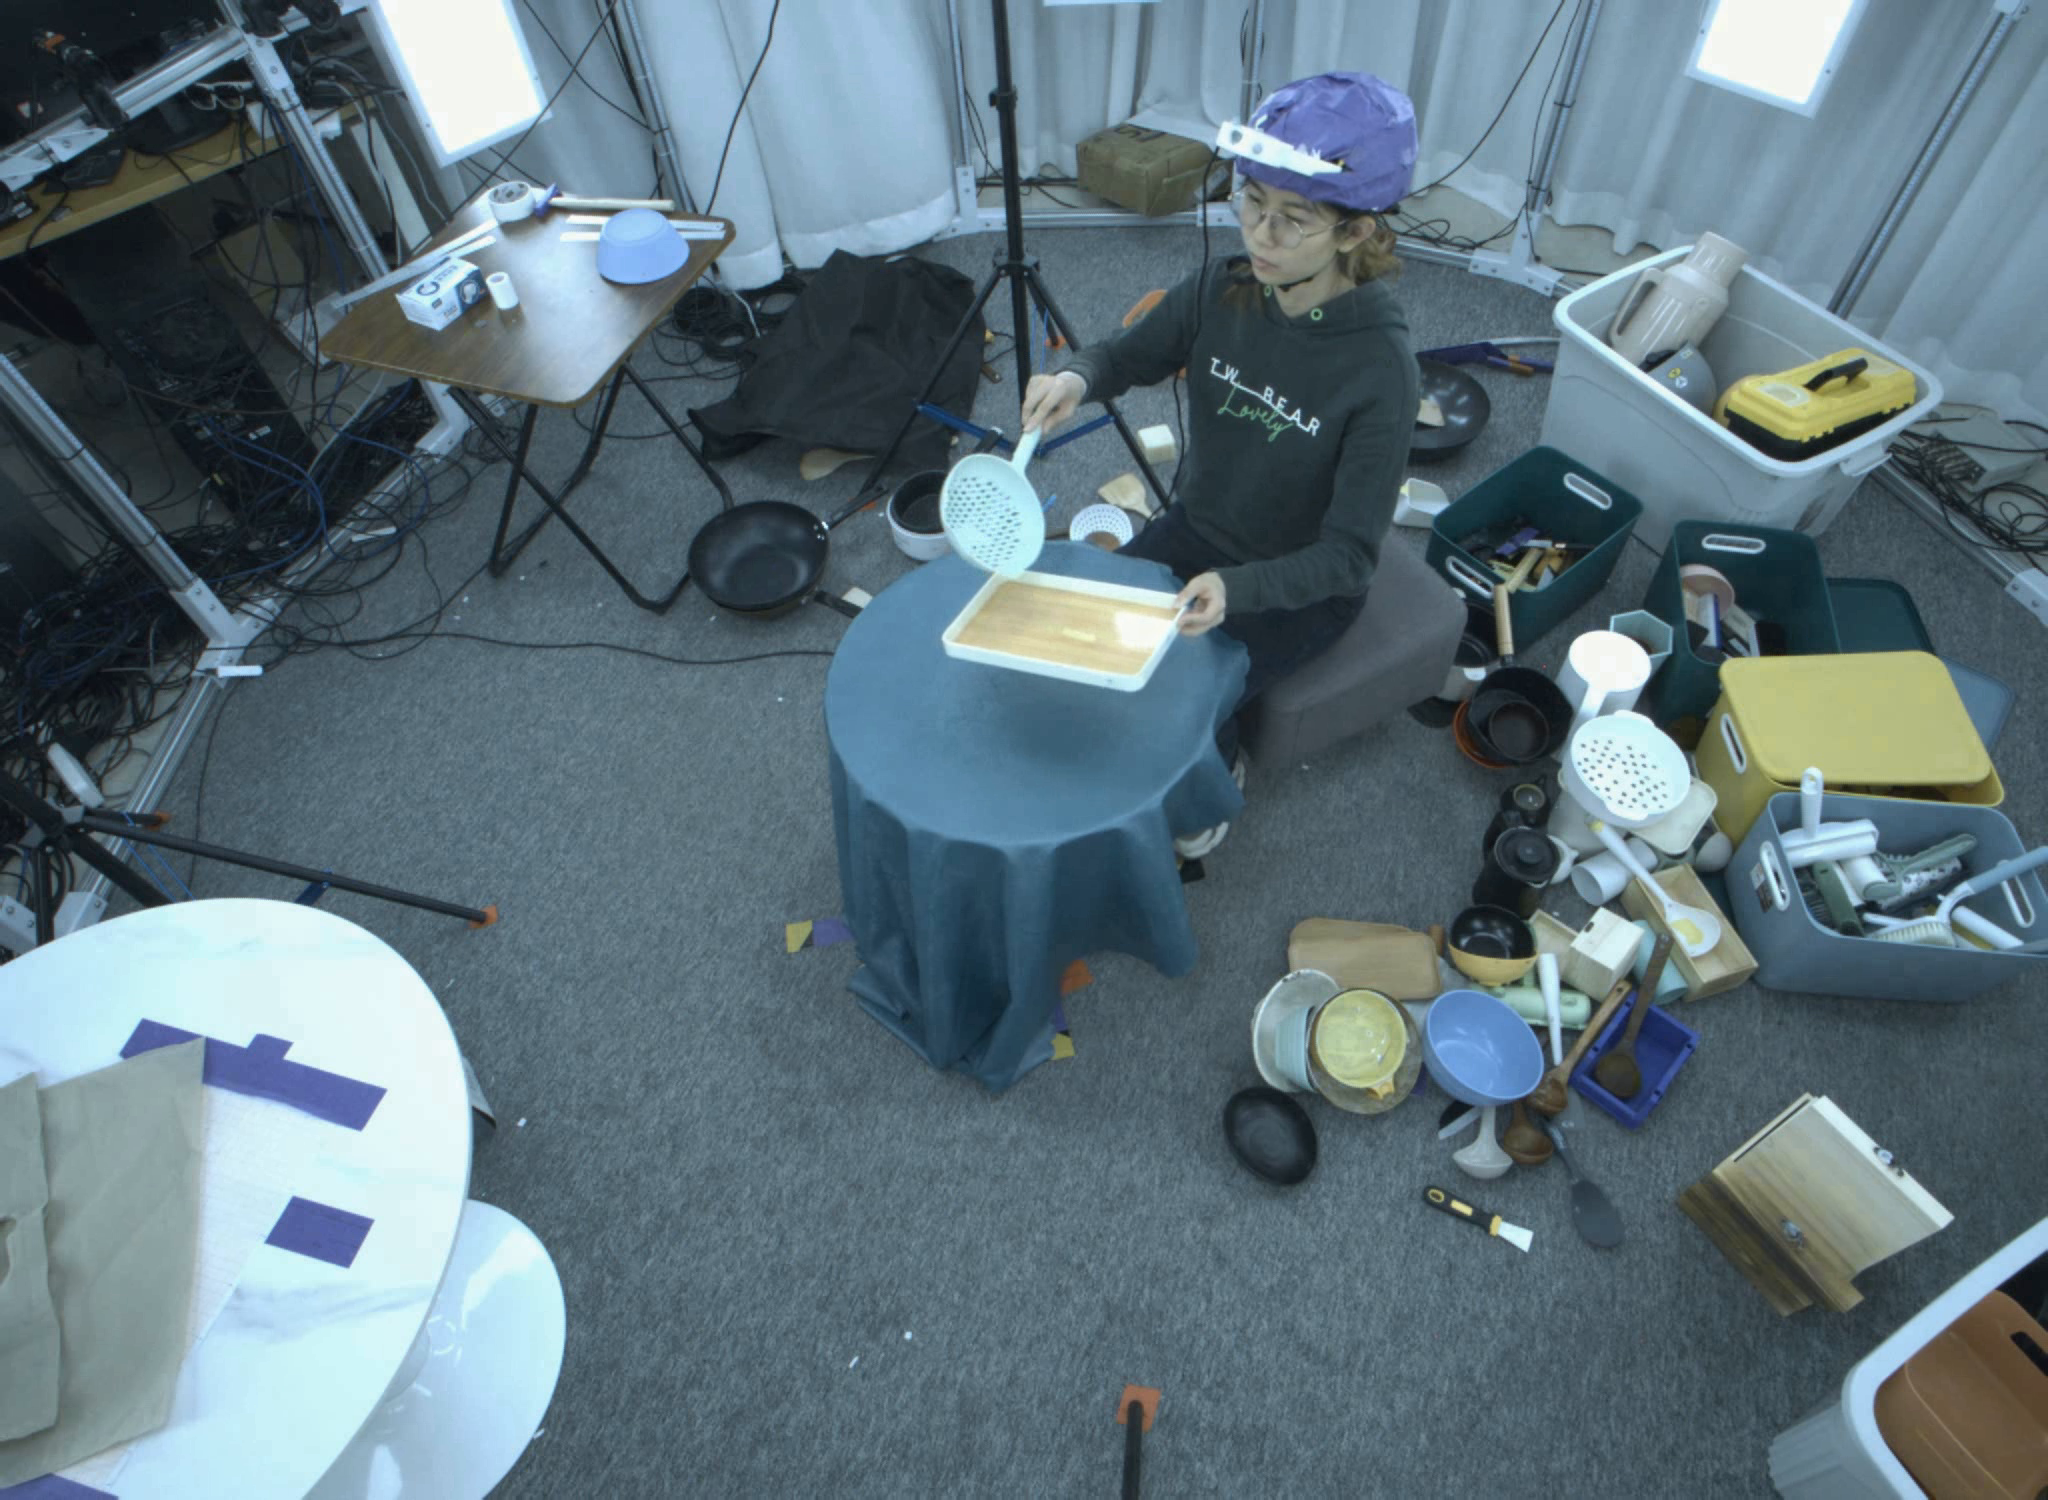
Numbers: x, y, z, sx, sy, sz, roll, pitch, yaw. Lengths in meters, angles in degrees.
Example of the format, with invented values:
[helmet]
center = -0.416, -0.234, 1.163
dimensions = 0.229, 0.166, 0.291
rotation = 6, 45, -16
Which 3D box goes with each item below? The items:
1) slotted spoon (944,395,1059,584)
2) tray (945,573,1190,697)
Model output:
[slotted spoon]
center = -0.010, -0.392, 1.723
dimensions = 0.074, 0.173, 0.358
rotation = -8, 51, 52
[tray]
center = 0.060, -0.164, 1.697
dimensions = 0.295, 0.028, 0.192
rotation = 14, 47, 22
